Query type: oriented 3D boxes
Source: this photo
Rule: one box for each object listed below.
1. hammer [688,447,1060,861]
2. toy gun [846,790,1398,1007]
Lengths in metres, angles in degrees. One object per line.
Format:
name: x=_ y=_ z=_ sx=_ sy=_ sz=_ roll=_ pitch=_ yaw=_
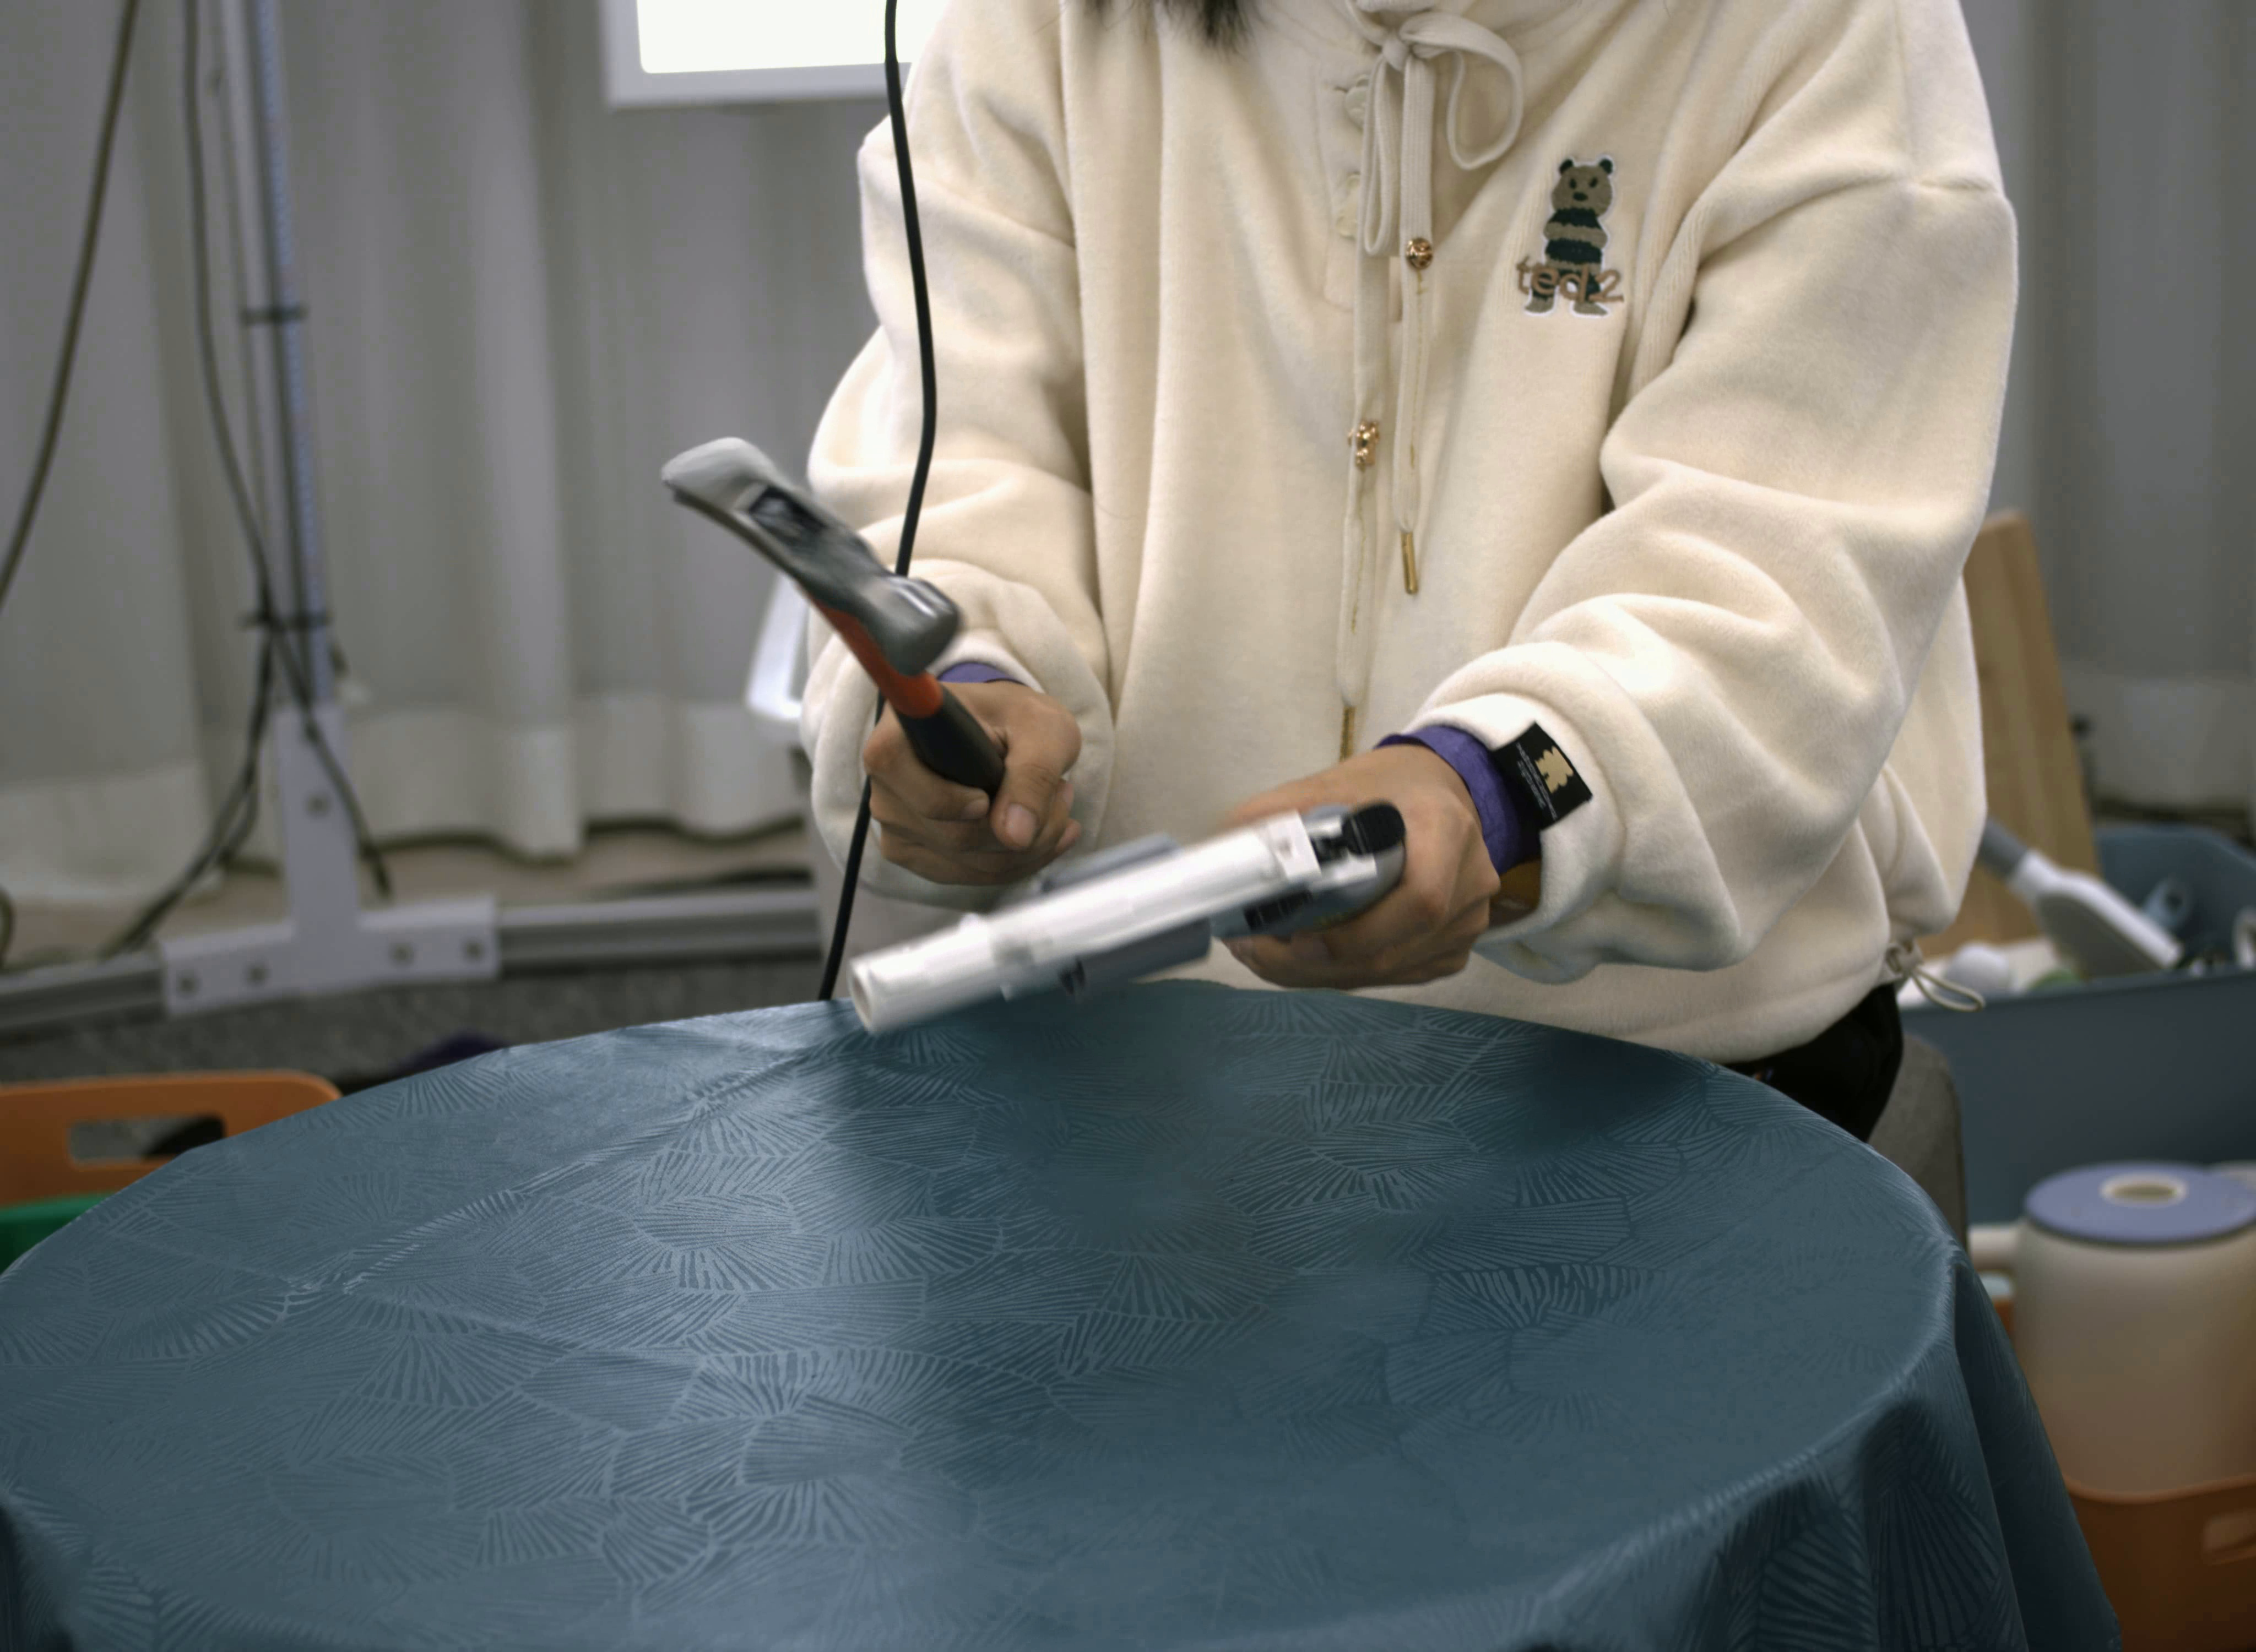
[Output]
hammer: x=-0.063 y=-0.045 z=1.694 sx=0.111 sy=0.026 sz=0.274 roll=32 pitch=-10 yaw=20
toy gun: x=0.003 y=0.024 z=1.604 sx=0.208 sy=0.039 sz=0.141 roll=-16 pitch=-7 yaw=-20
